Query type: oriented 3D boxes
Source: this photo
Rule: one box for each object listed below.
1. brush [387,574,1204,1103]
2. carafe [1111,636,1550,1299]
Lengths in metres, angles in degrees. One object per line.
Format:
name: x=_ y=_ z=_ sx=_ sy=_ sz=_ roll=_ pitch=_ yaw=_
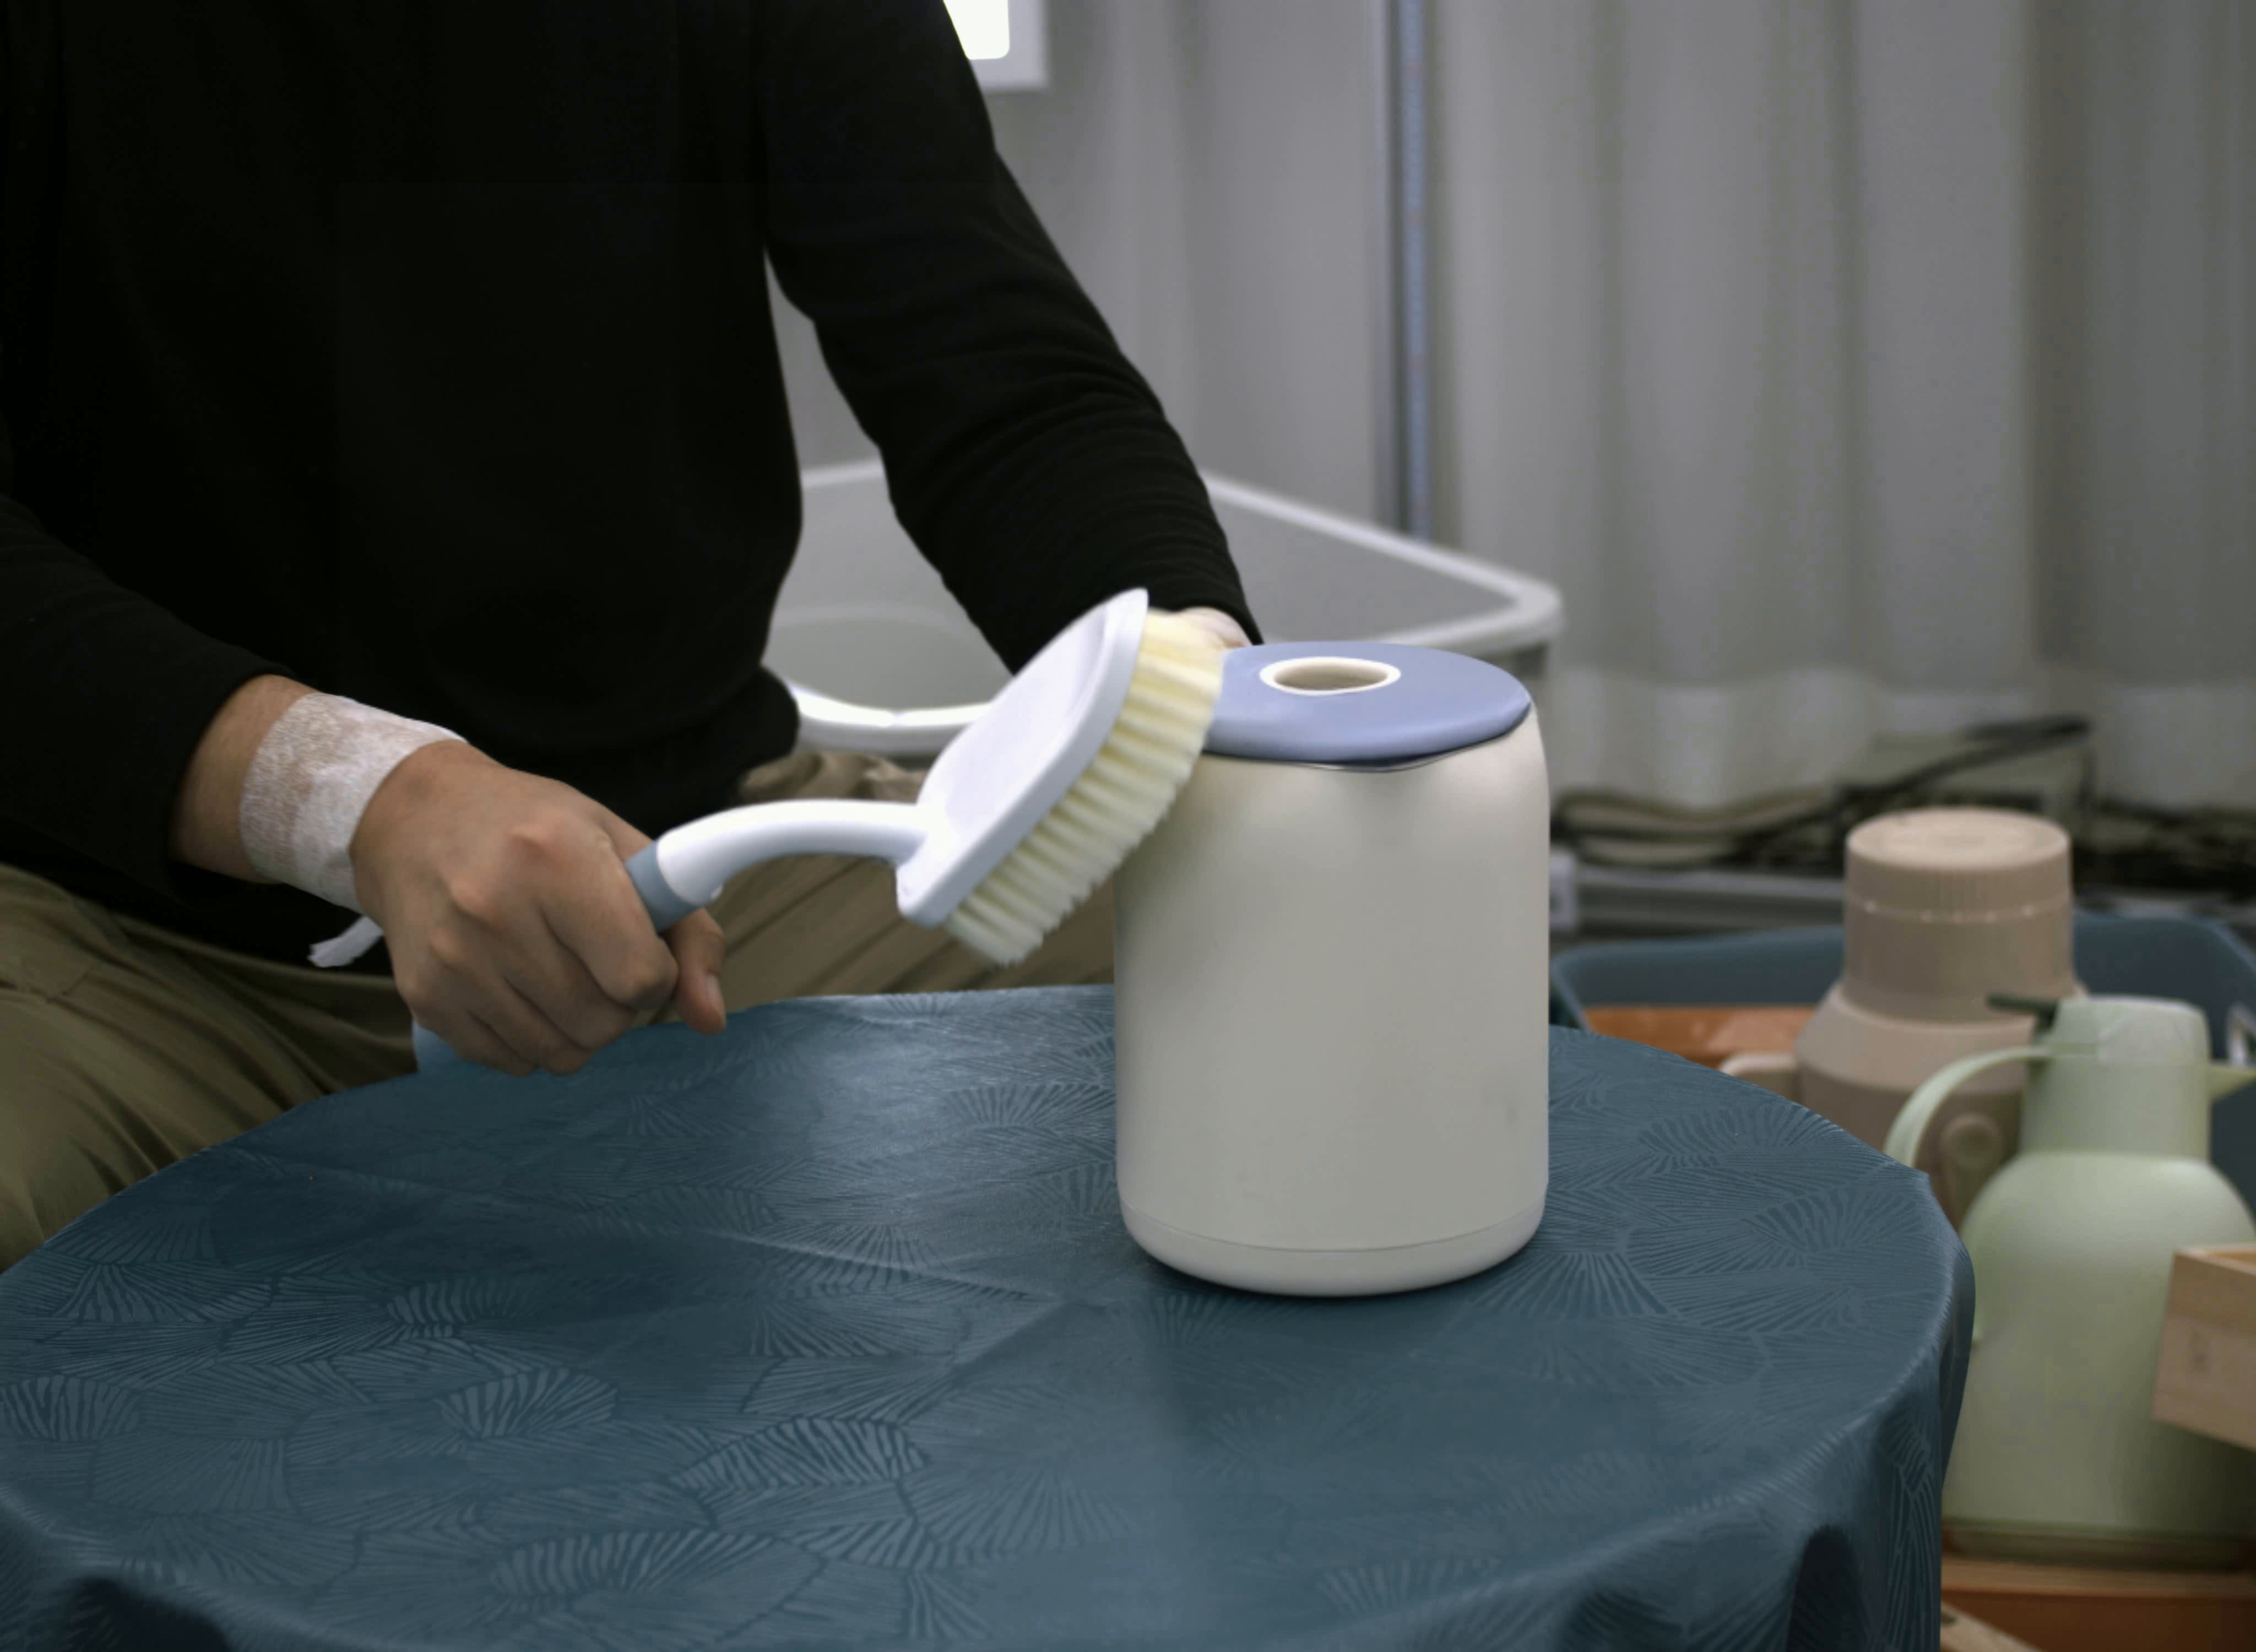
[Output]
brush: x=-0.091 y=0.022 z=1.642 sx=0.324 sy=0.085 sz=0.083 roll=-32 pitch=-7 yaw=32
carafe: x=0.055 y=0.035 z=1.663 sx=0.131 sy=0.182 sz=0.192 roll=-4 pitch=14 yaw=-14
